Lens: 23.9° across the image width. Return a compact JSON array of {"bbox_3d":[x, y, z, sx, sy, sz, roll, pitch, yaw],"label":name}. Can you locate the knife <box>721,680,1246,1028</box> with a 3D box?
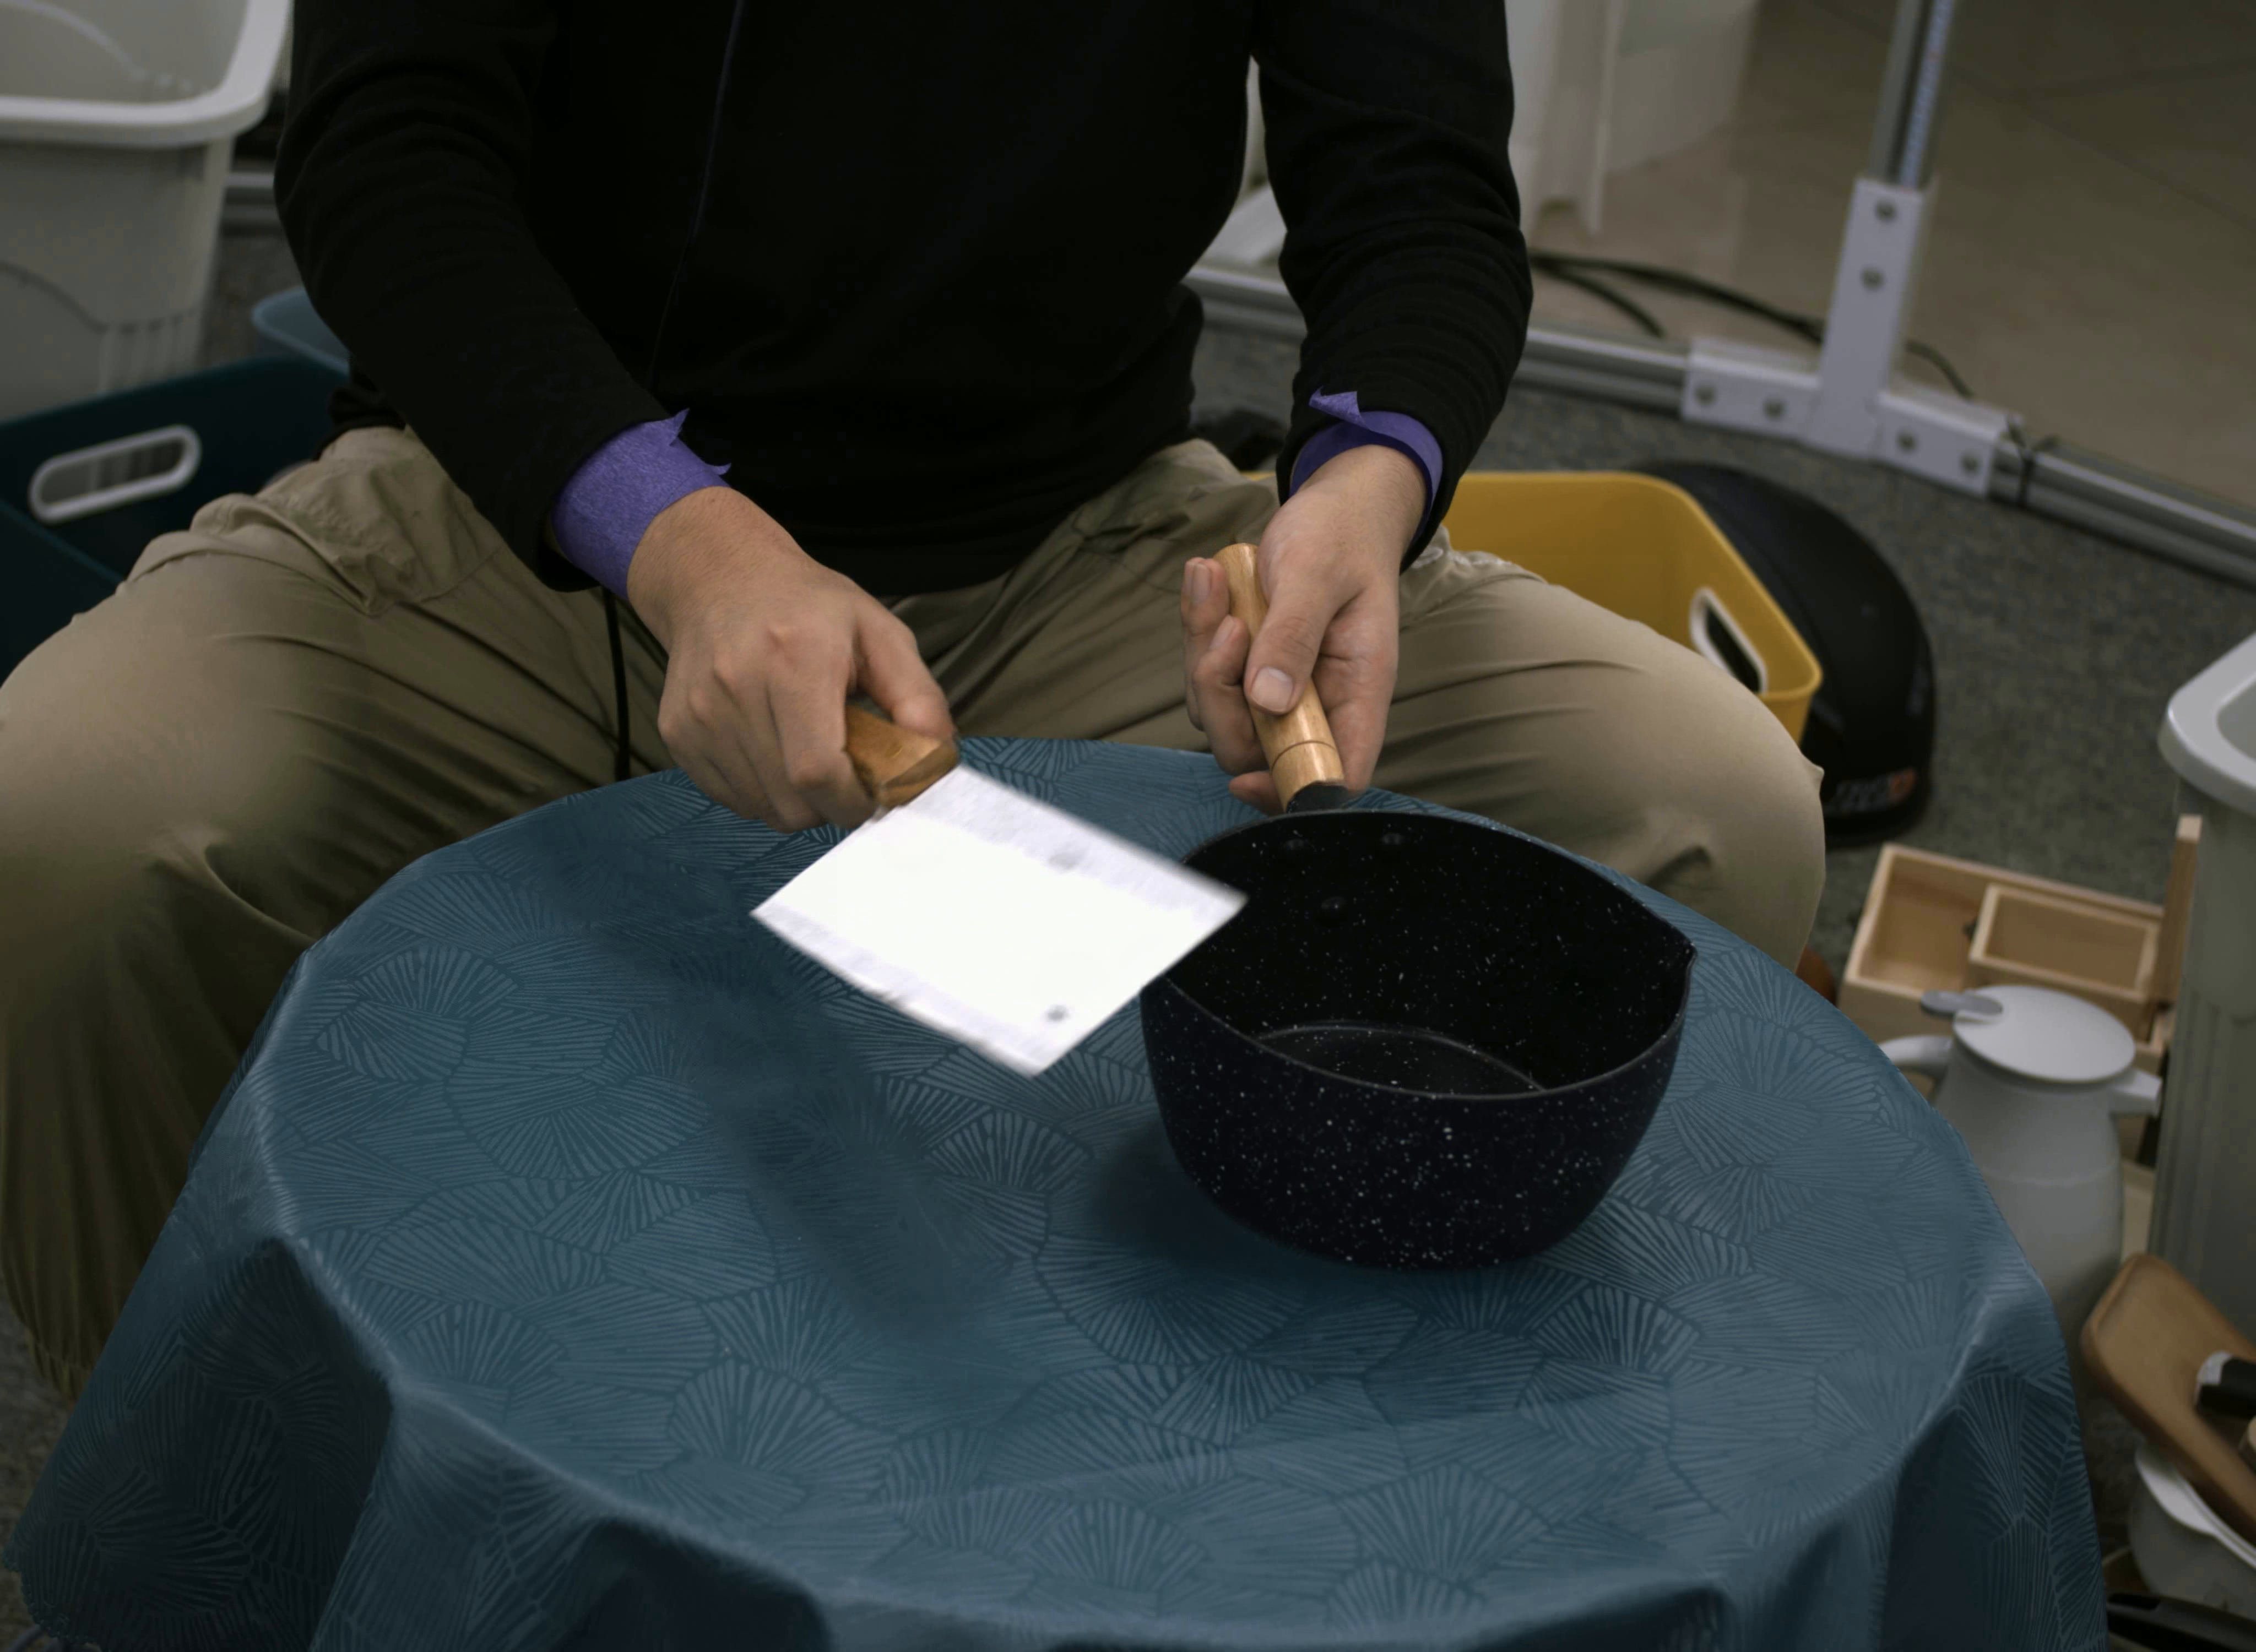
[{"bbox_3d":[-0.073,0.010,1.807,0.093,0.021,0.308,-40,32,-17],"label":"knife"}]

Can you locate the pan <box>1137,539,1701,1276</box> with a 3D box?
[{"bbox_3d":[0.073,0.026,1.880,0.206,0.108,0.346,-2,32,-16],"label":"pan"}]
